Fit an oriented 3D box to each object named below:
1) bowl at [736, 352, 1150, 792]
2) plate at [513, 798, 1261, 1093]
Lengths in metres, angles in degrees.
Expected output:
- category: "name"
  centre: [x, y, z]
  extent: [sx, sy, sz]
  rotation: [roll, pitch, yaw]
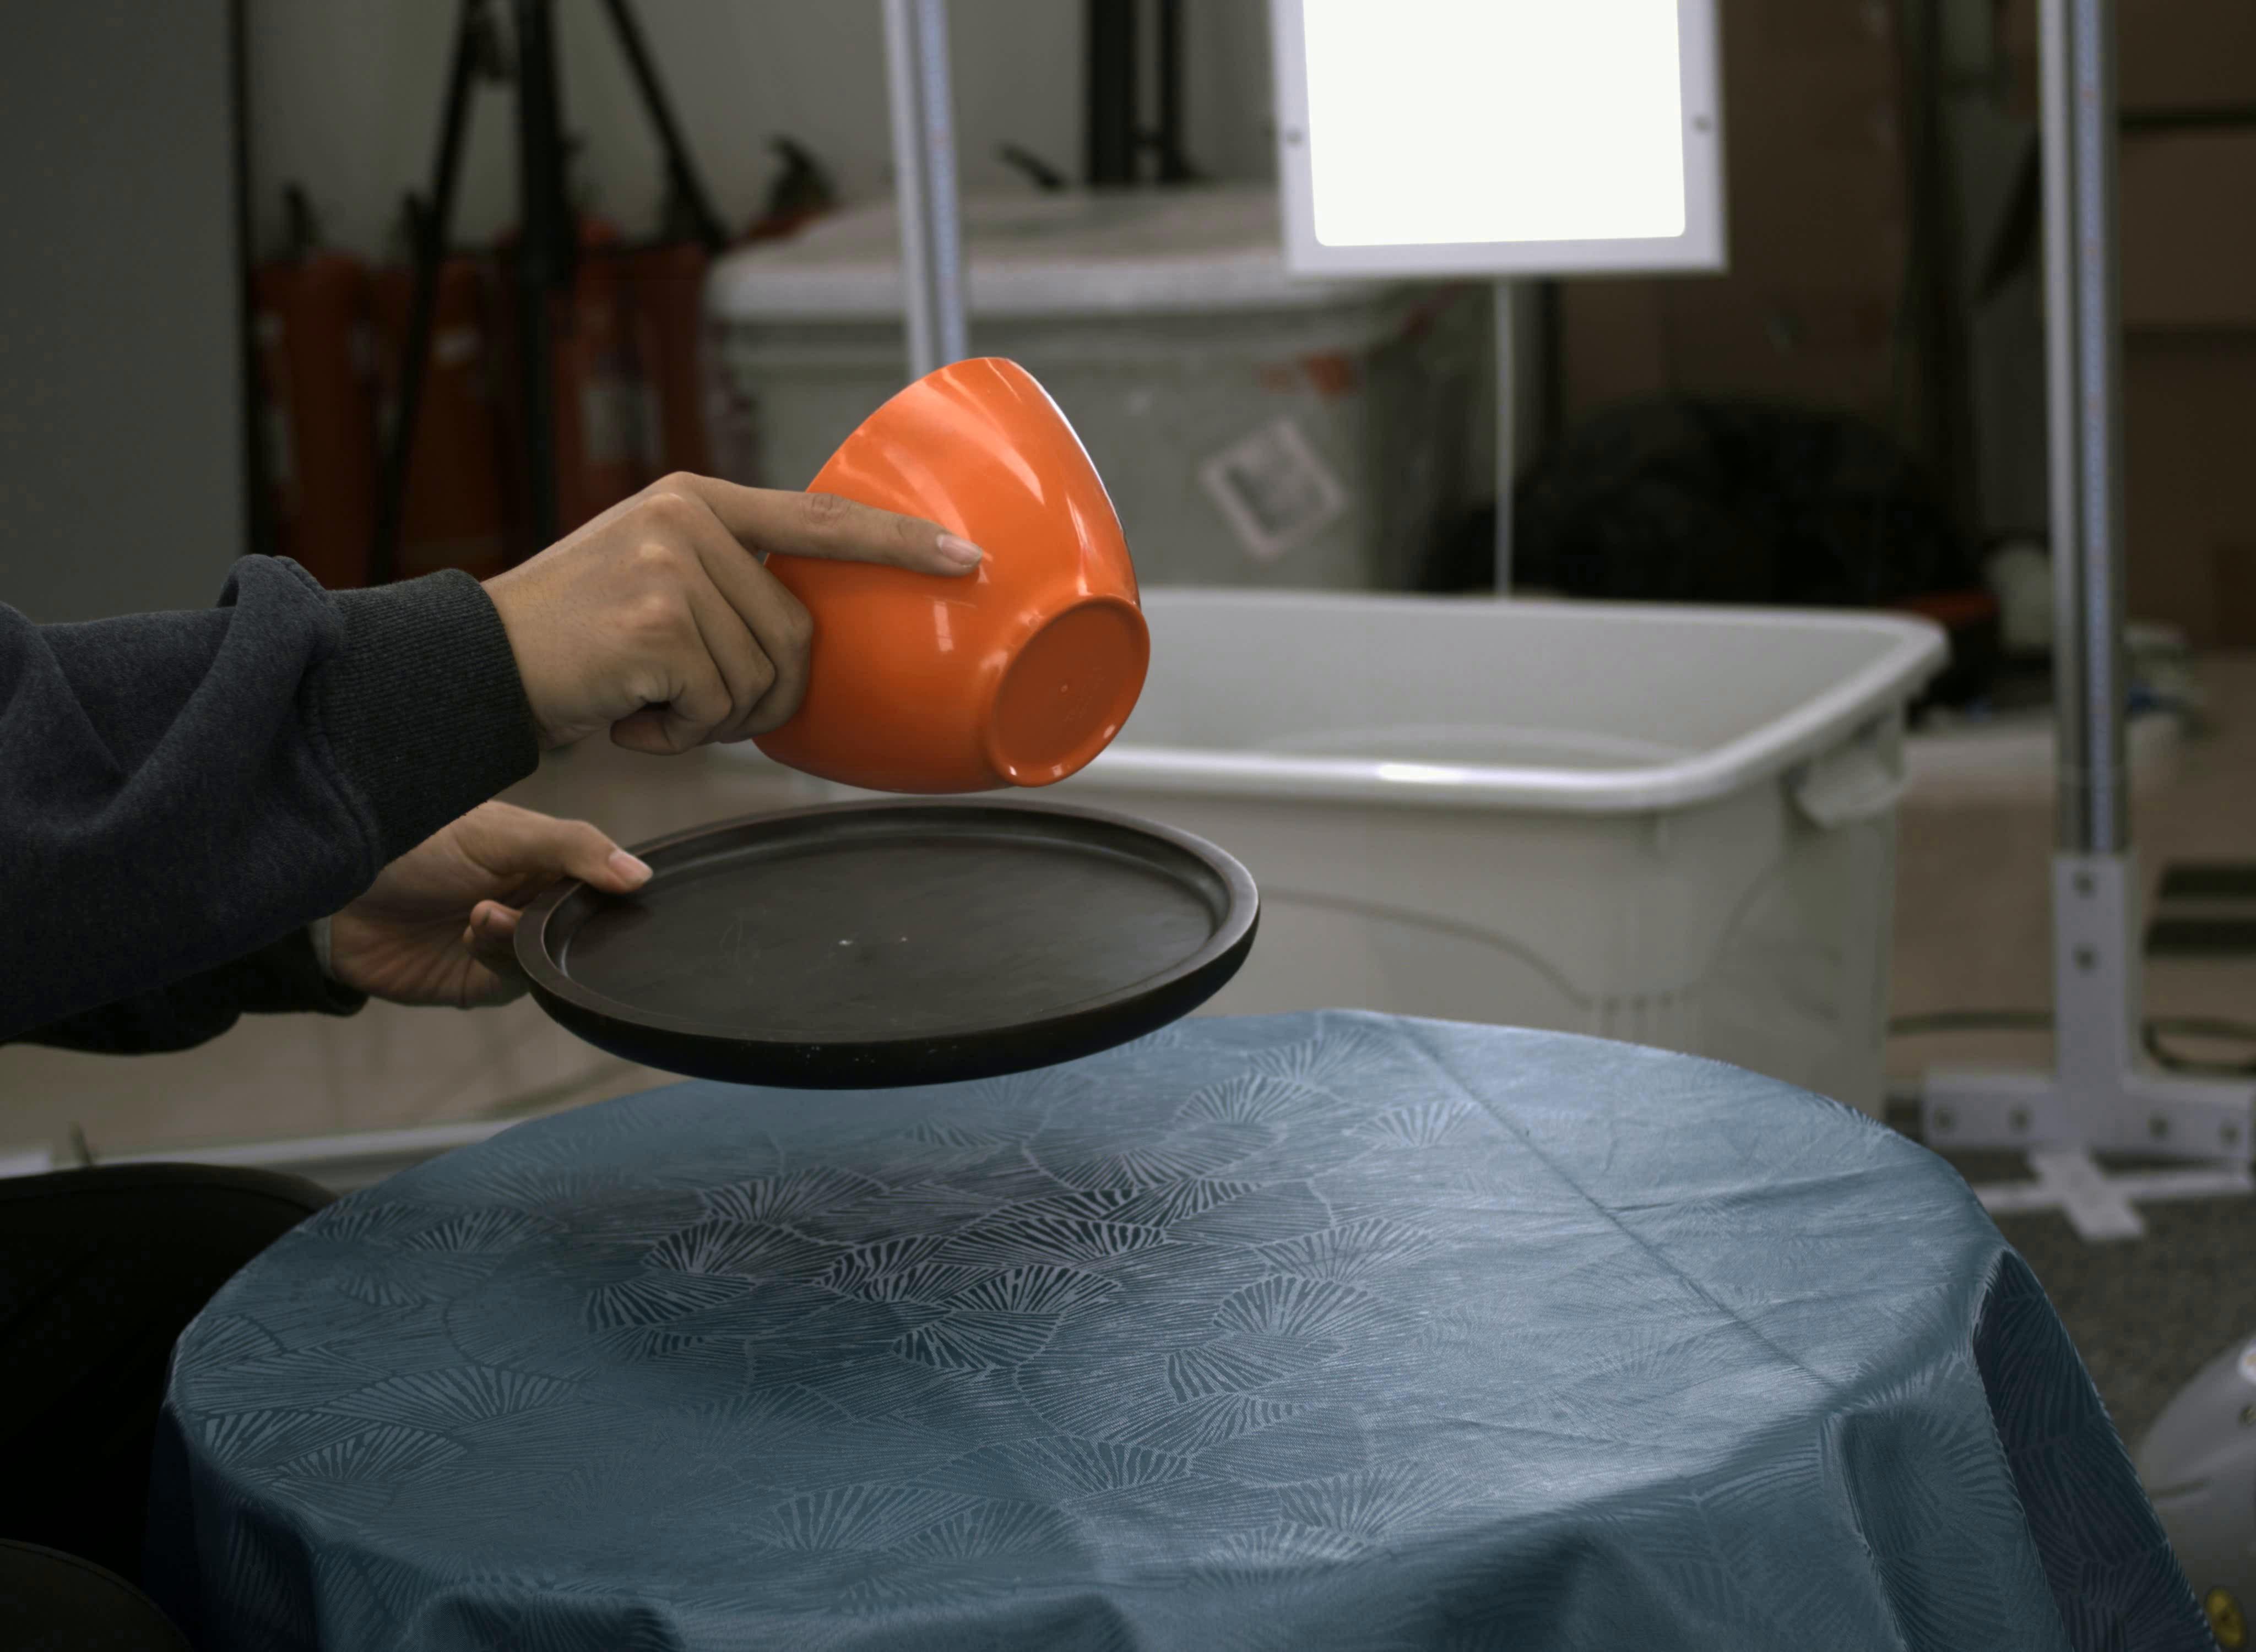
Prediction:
- category: "bowl"
  centre: [-0.044, -0.064, 1.710]
  extent: [0.144, 0.149, 0.106]
  rotation: [-15, 40, -39]
- category: "plate"
  centre: [-0.081, 0.038, 1.859]
  extent: [0.254, 0.029, 0.254]
  rotation: [-4, 19, 0]
